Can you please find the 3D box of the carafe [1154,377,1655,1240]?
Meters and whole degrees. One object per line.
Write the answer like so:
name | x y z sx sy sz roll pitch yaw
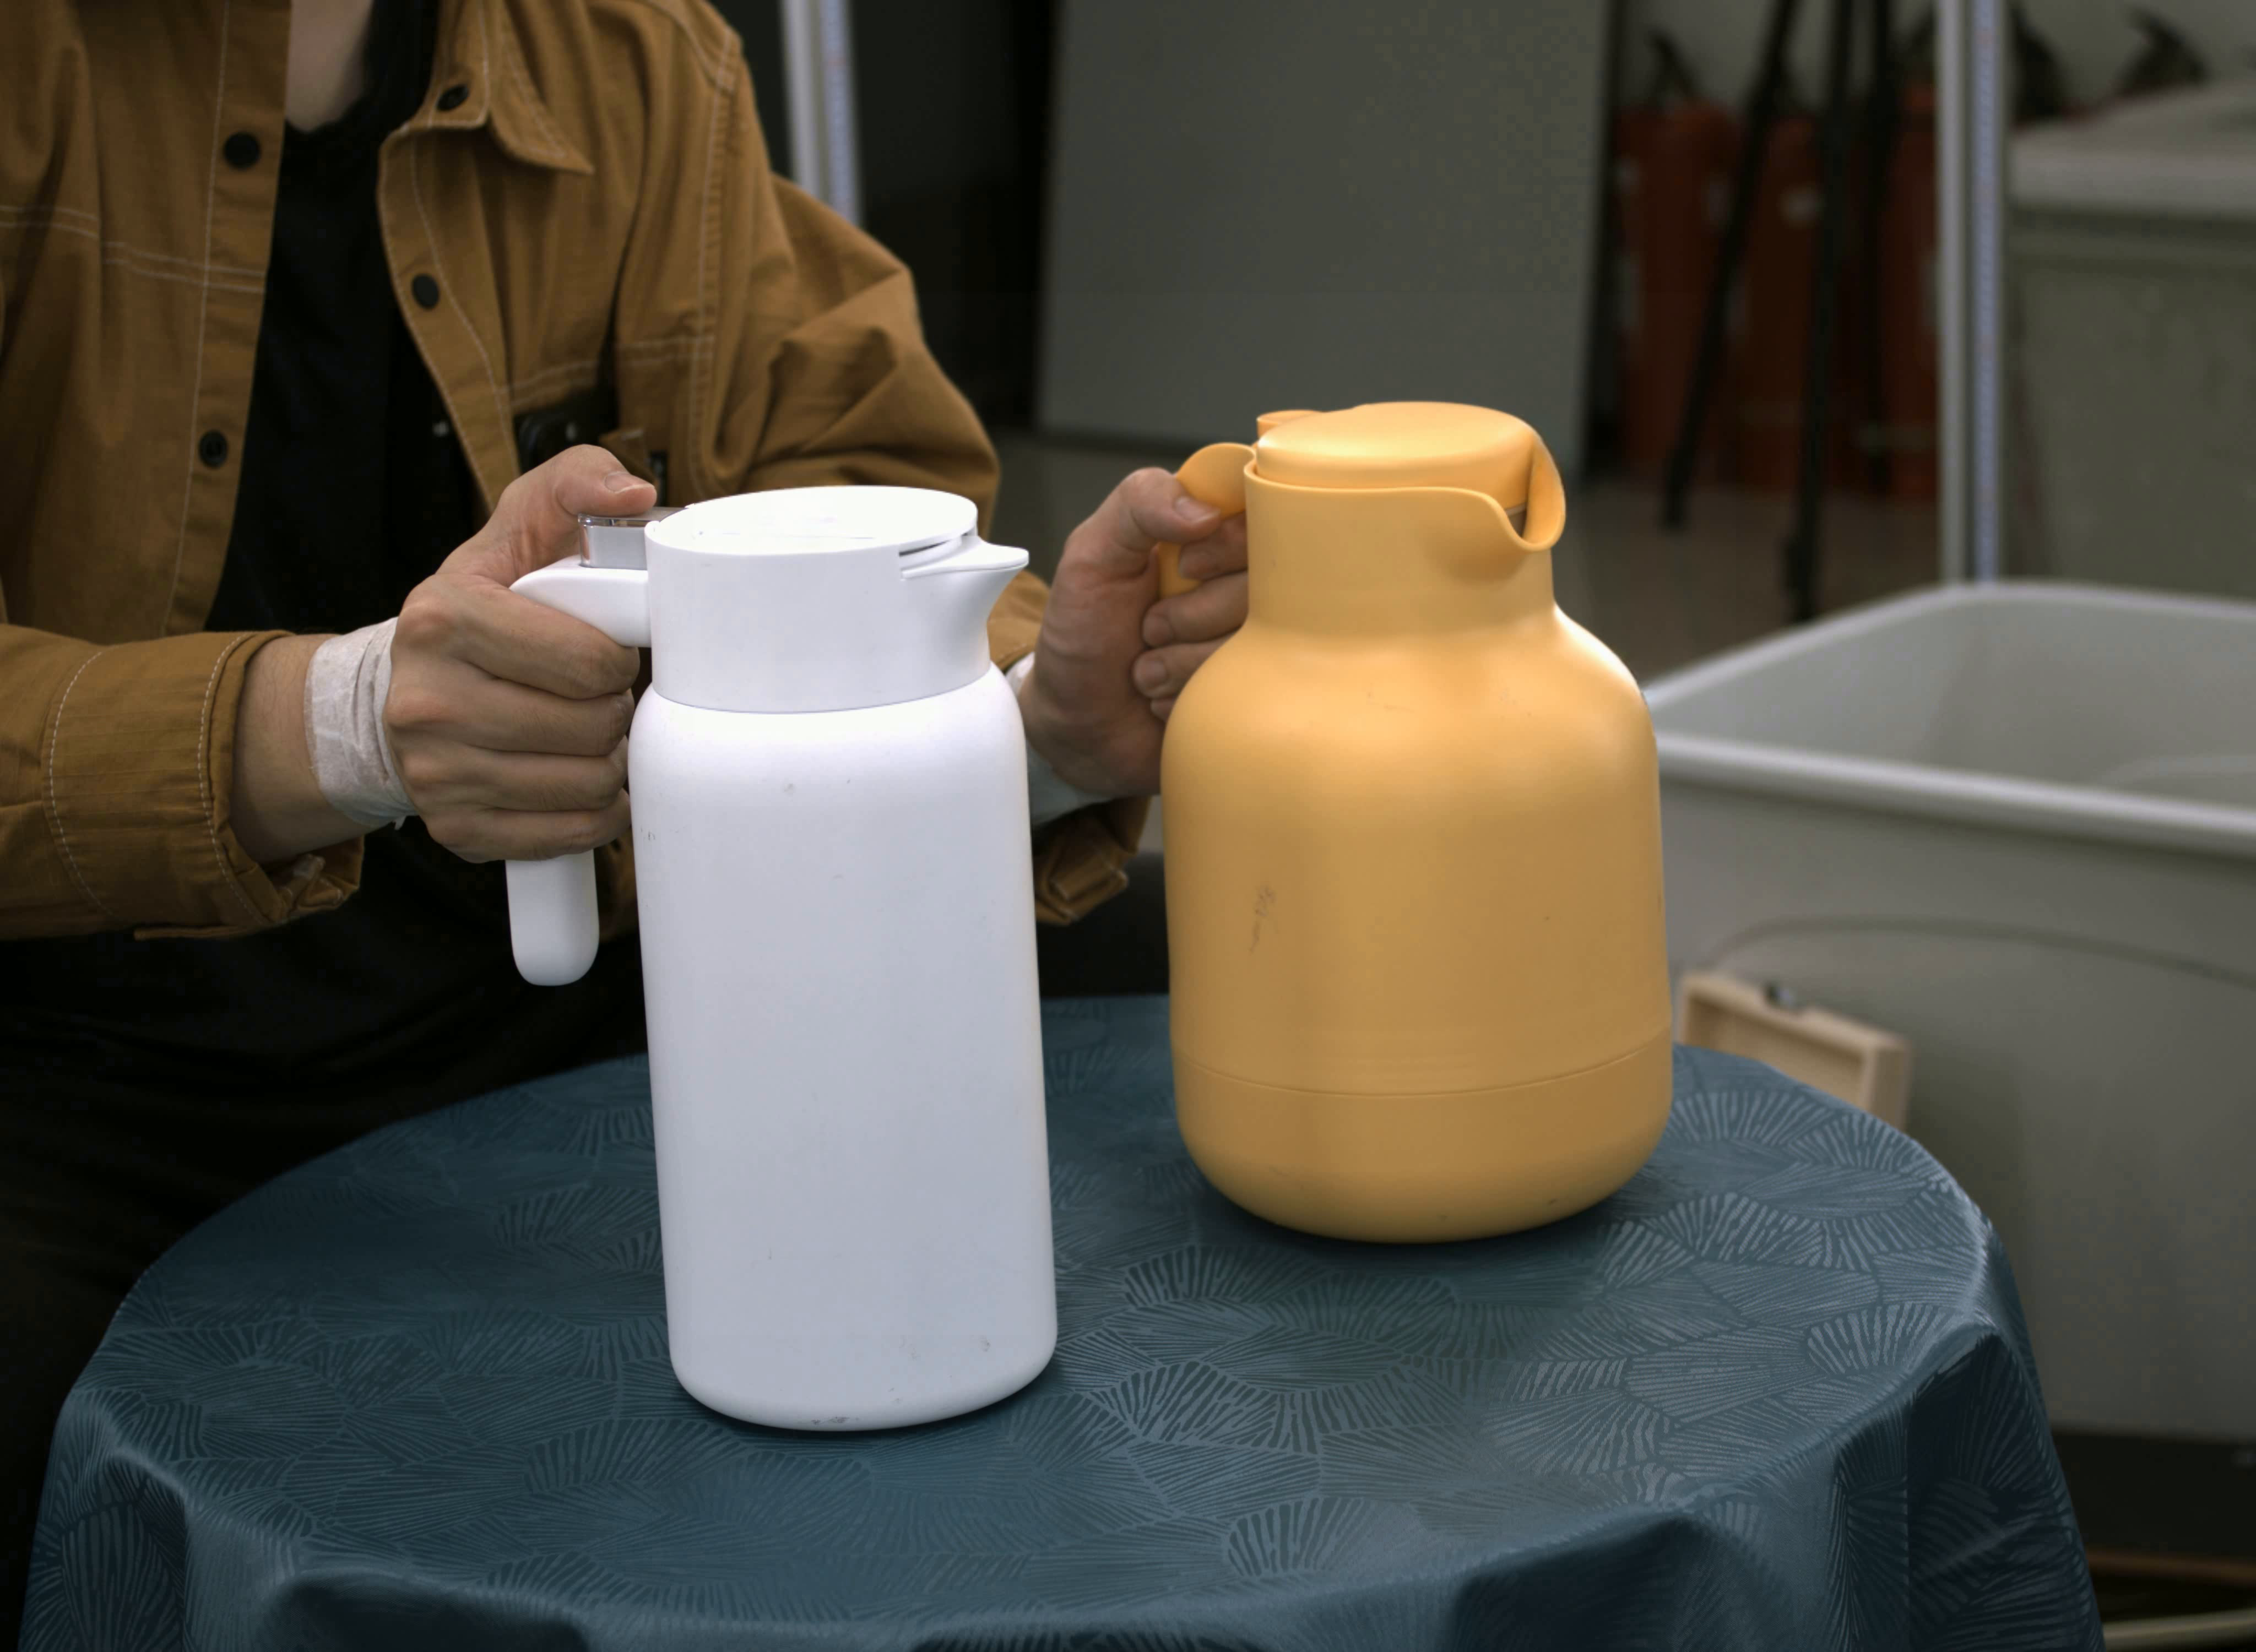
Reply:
carafe | 0.079 -0.013 1.737 0.160 0.263 0.204 -8 16 -30

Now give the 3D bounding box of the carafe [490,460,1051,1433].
carafe | -0.102 0.034 1.593 0.173 0.272 0.122 3 17 24
